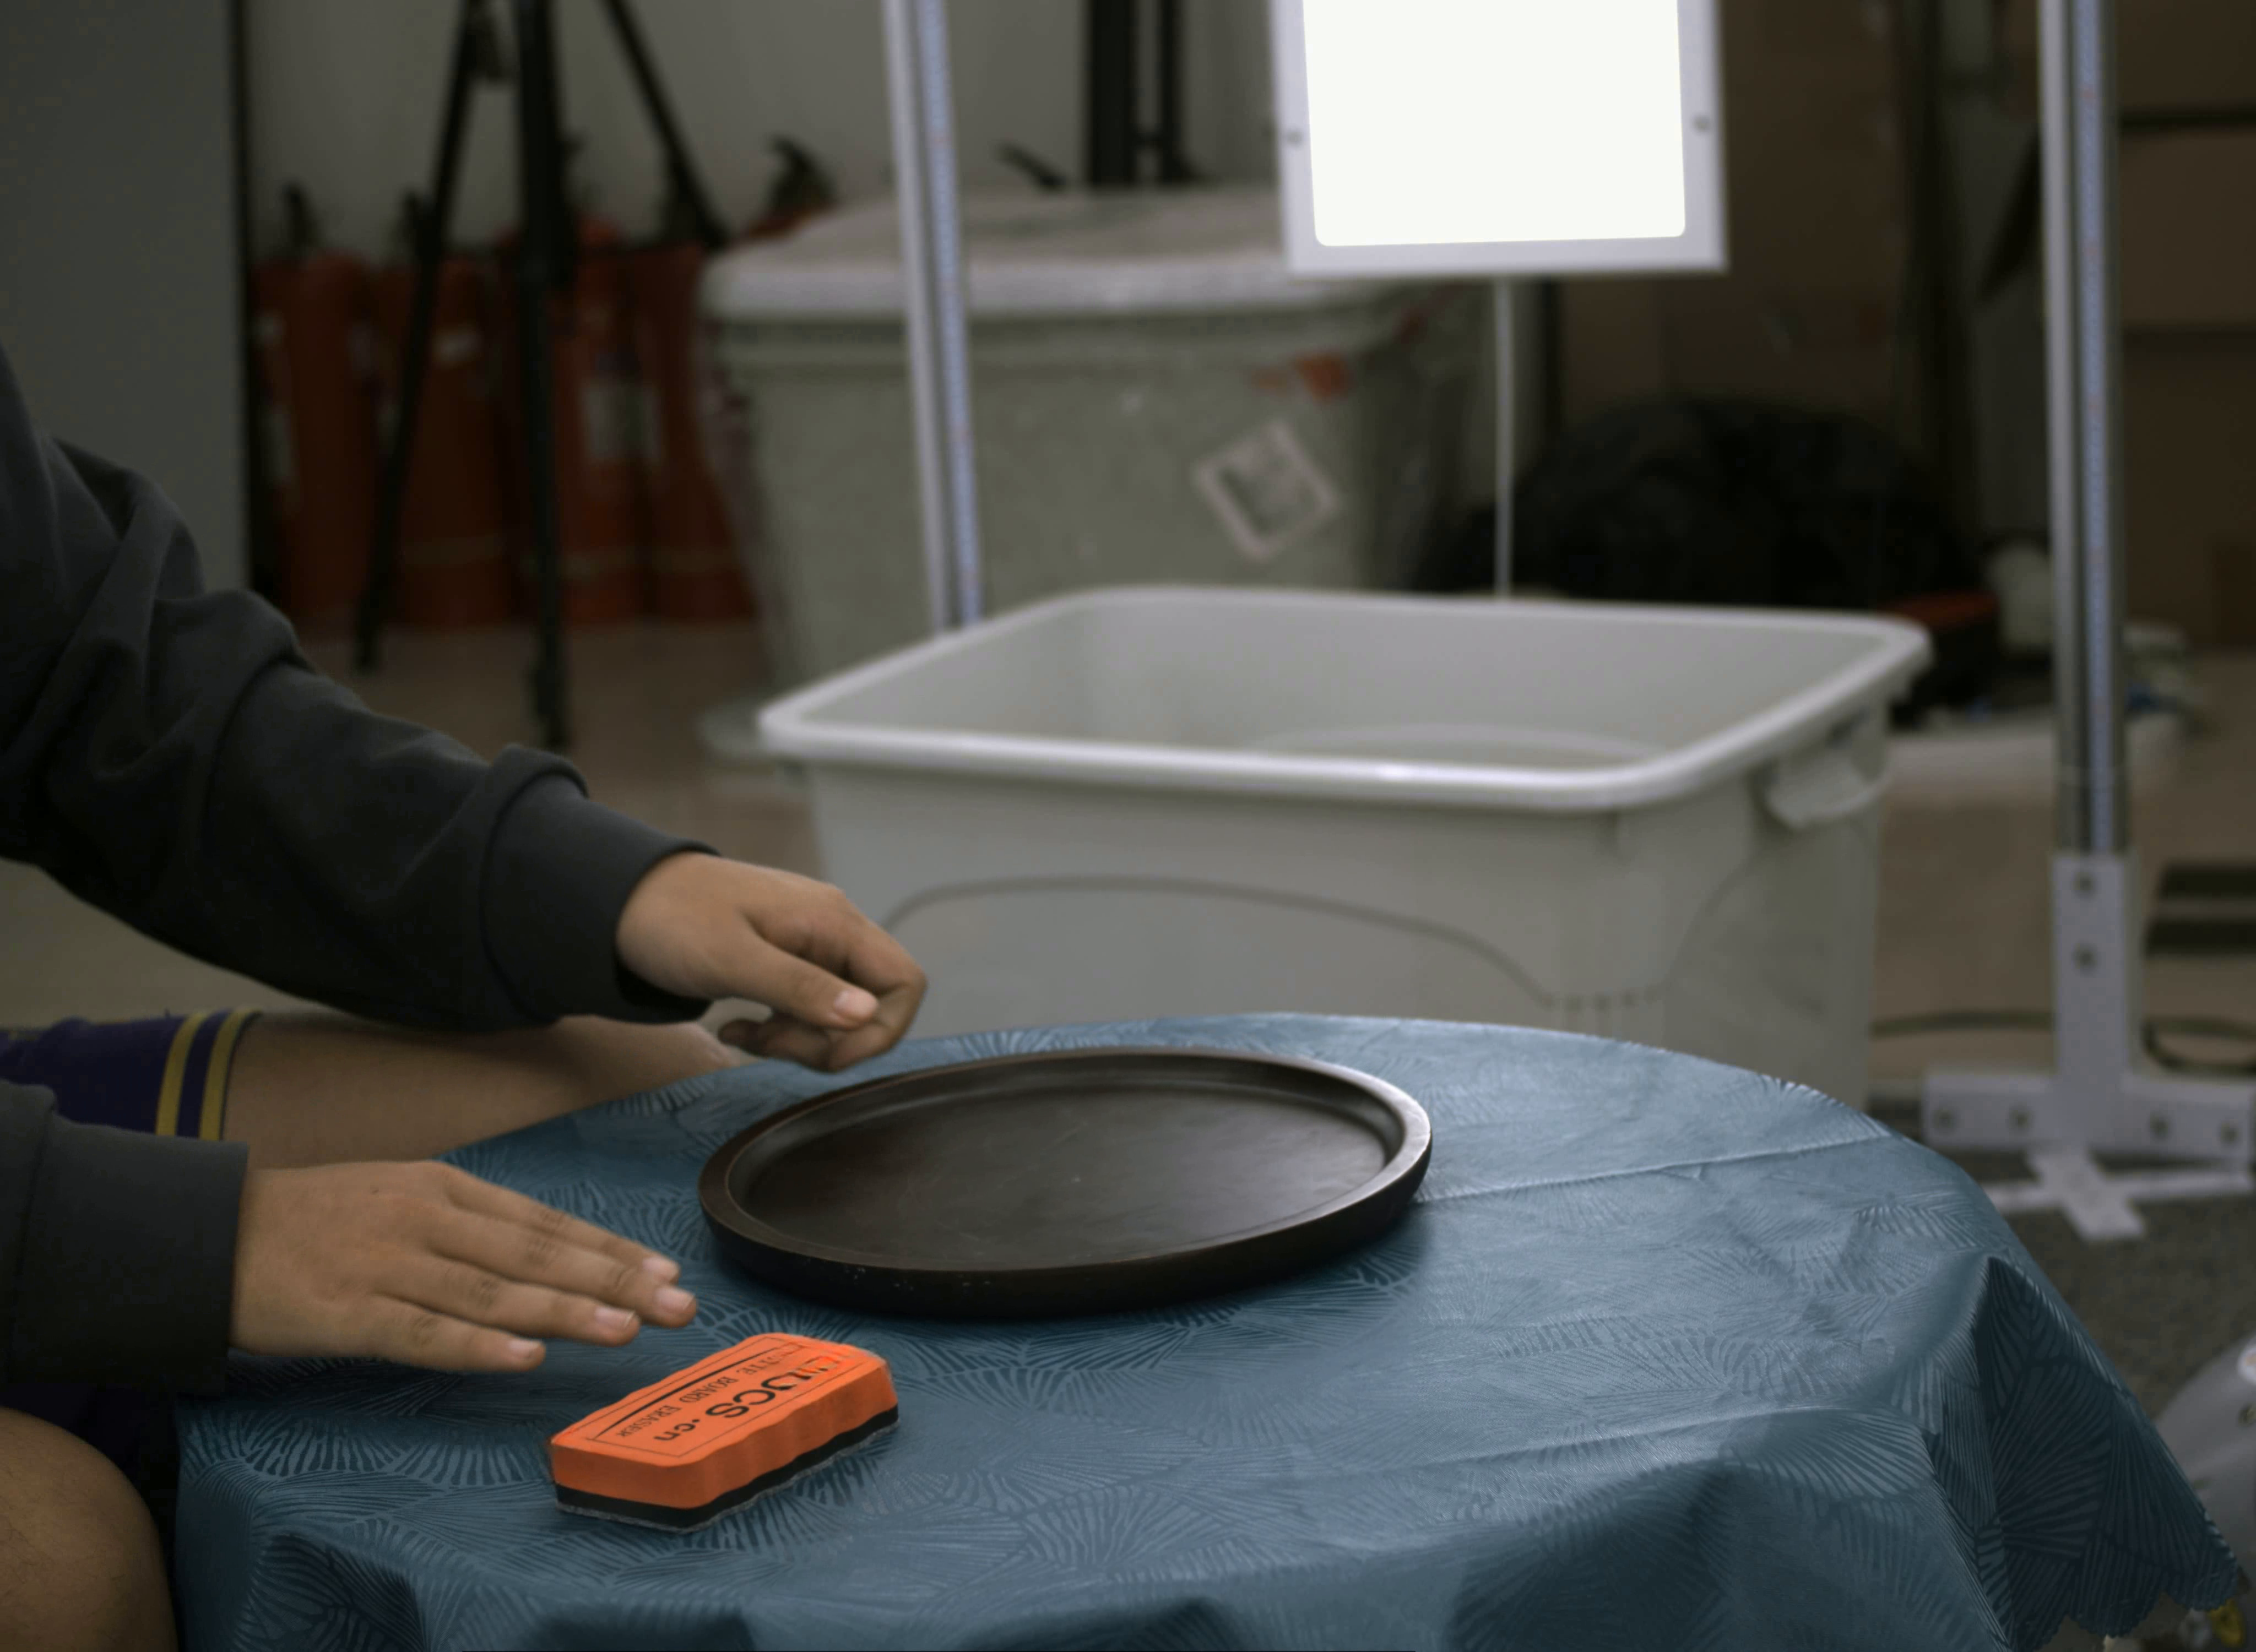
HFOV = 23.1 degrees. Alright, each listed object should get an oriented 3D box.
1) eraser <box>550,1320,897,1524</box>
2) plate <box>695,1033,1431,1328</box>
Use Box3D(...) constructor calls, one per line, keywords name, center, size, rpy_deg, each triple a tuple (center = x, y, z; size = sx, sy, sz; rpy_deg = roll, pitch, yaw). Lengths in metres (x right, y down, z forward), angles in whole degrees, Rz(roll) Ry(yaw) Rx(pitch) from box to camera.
Box3D(name="eraser", center=(-0.121, 0.179, 1.664), size=(0.060, 0.023, 0.105), rpy_deg=(5, 18, 37))
Box3D(name="plate", center=(-0.022, 0.121, 1.881), size=(0.254, 0.029, 0.254), rpy_deg=(-5, 15, 0))
